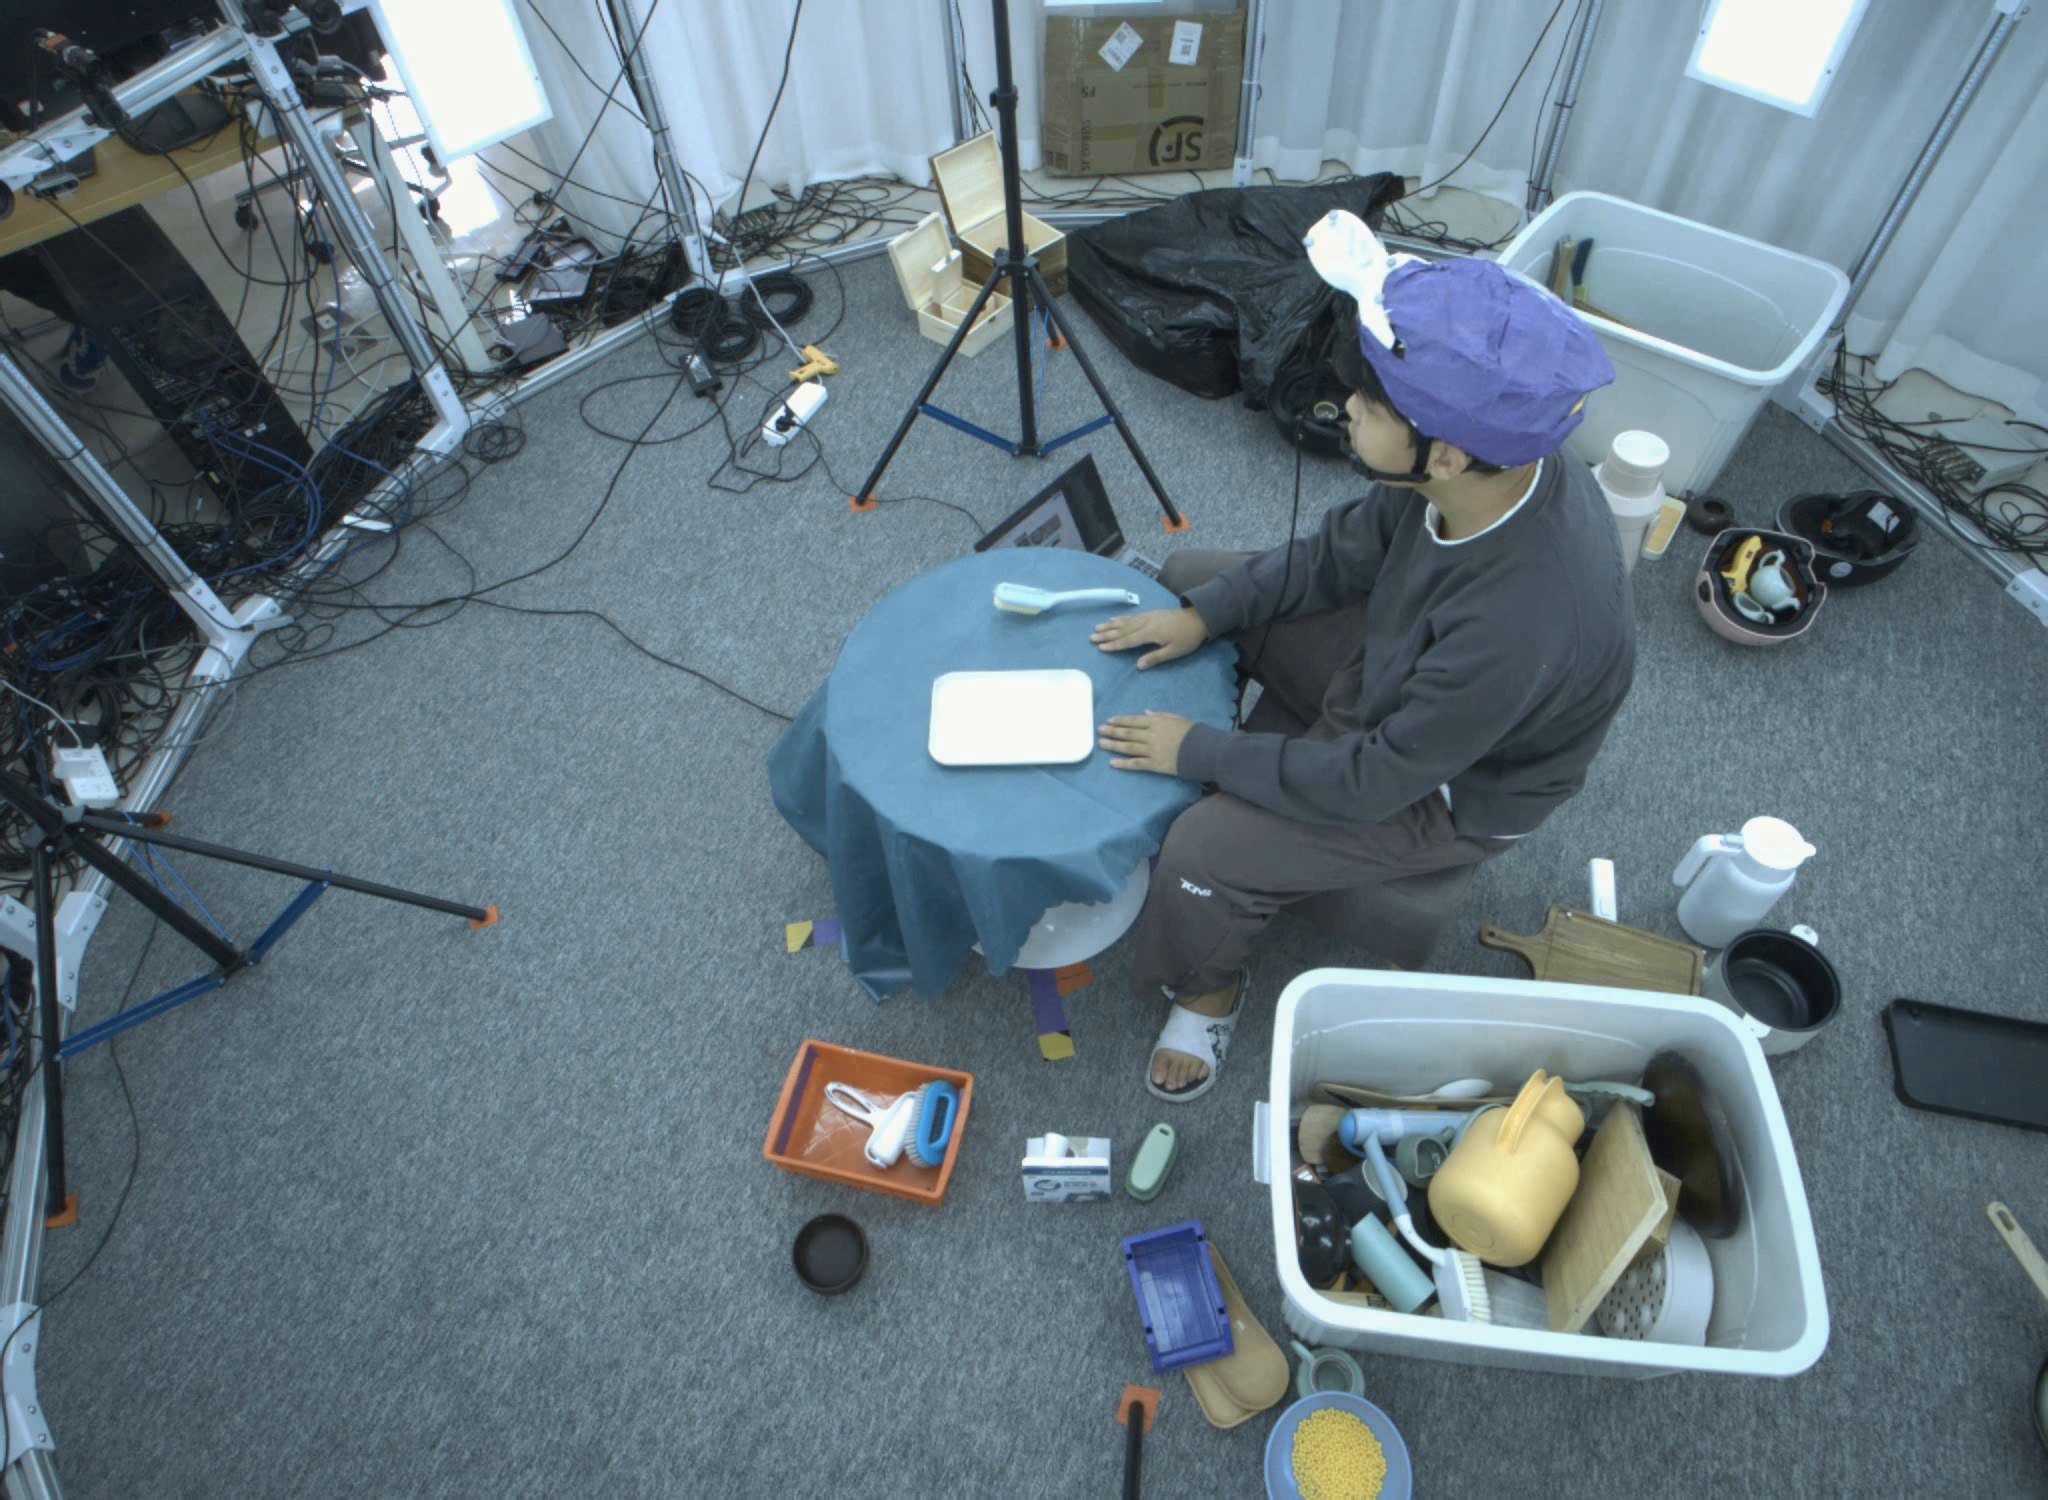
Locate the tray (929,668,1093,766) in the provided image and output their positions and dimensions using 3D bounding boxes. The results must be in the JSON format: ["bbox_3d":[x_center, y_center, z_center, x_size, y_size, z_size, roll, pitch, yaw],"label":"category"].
[{"bbox_3d":[-0.019,-0.048,1.811,0.239,0.017,0.169,-1,56,1],"label":"tray"}]

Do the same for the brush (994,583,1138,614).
[{"bbox_3d":[0.067,-0.238,1.935,0.230,0.050,0.037,-2,60,-10],"label":"brush"}]
